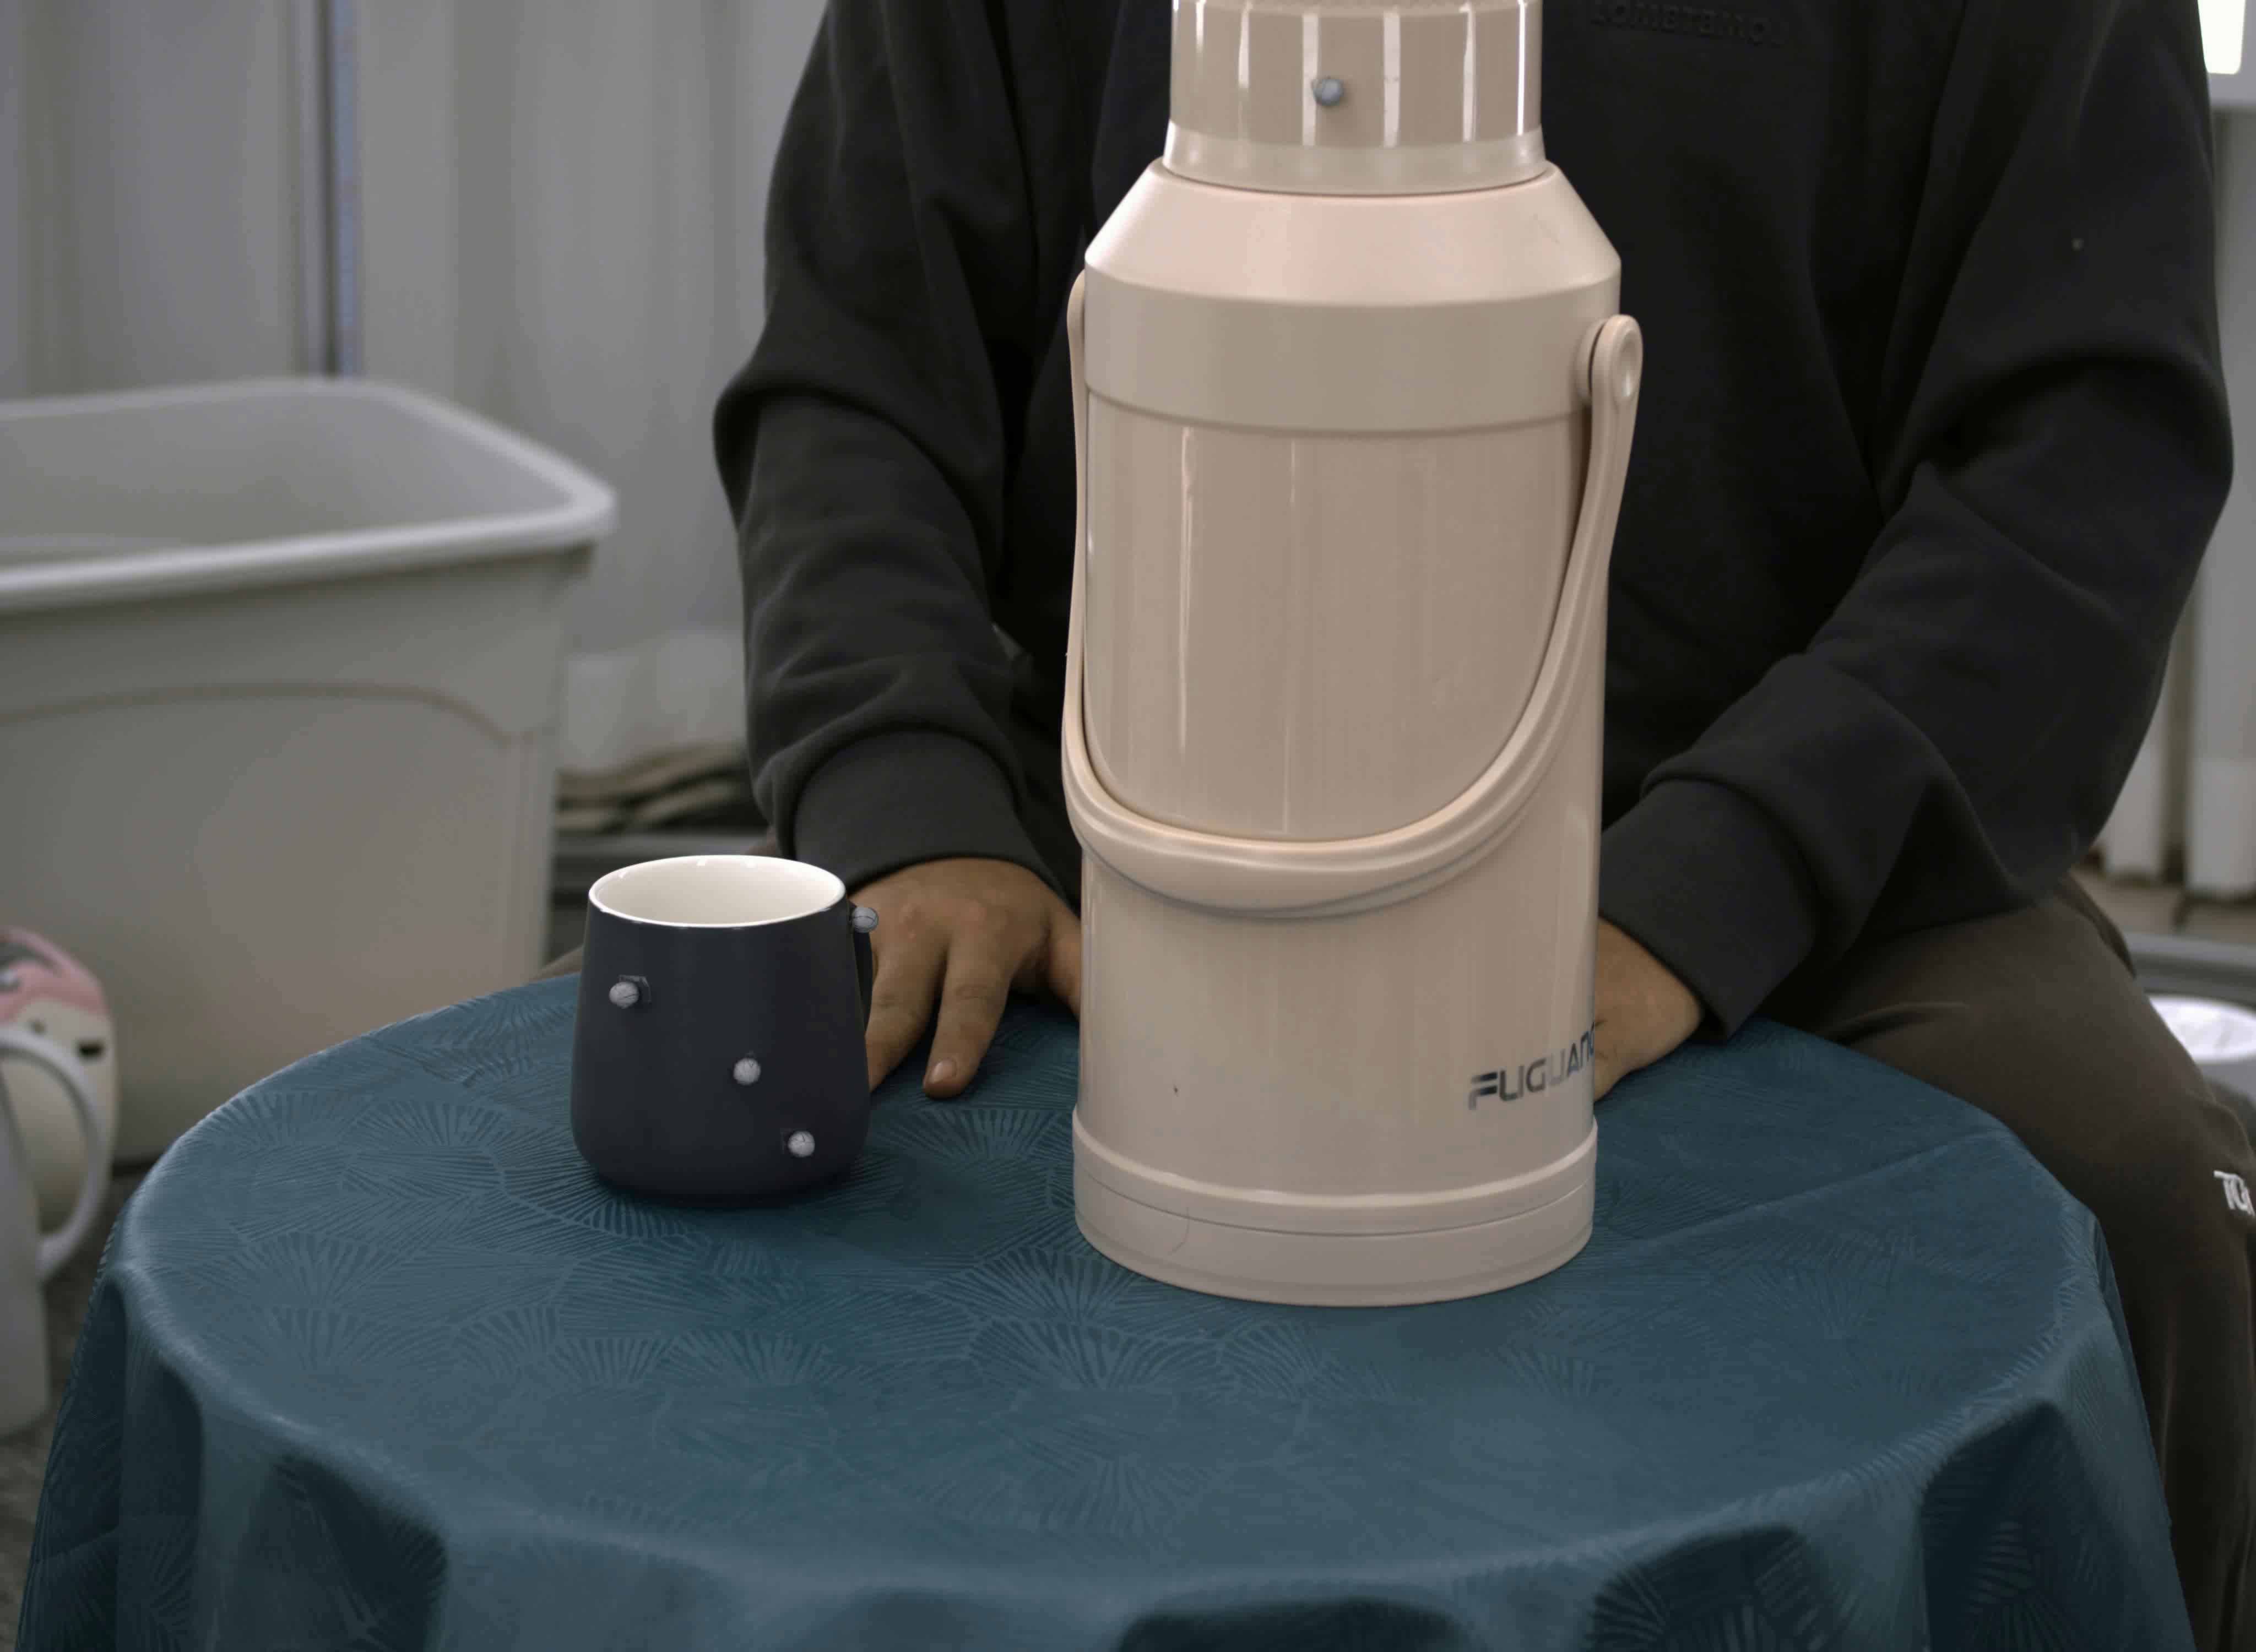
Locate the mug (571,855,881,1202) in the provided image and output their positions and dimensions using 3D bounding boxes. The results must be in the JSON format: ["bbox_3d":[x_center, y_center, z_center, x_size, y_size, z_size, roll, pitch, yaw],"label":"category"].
[{"bbox_3d":[-0.118,0.059,1.642,0.092,0.090,0.124,11,19,32],"label":"mug"}]

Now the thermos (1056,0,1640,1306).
[{"bbox_3d":[0.070,-0.076,1.563,0.173,0.410,0.207,8,18,26],"label":"thermos"}]
